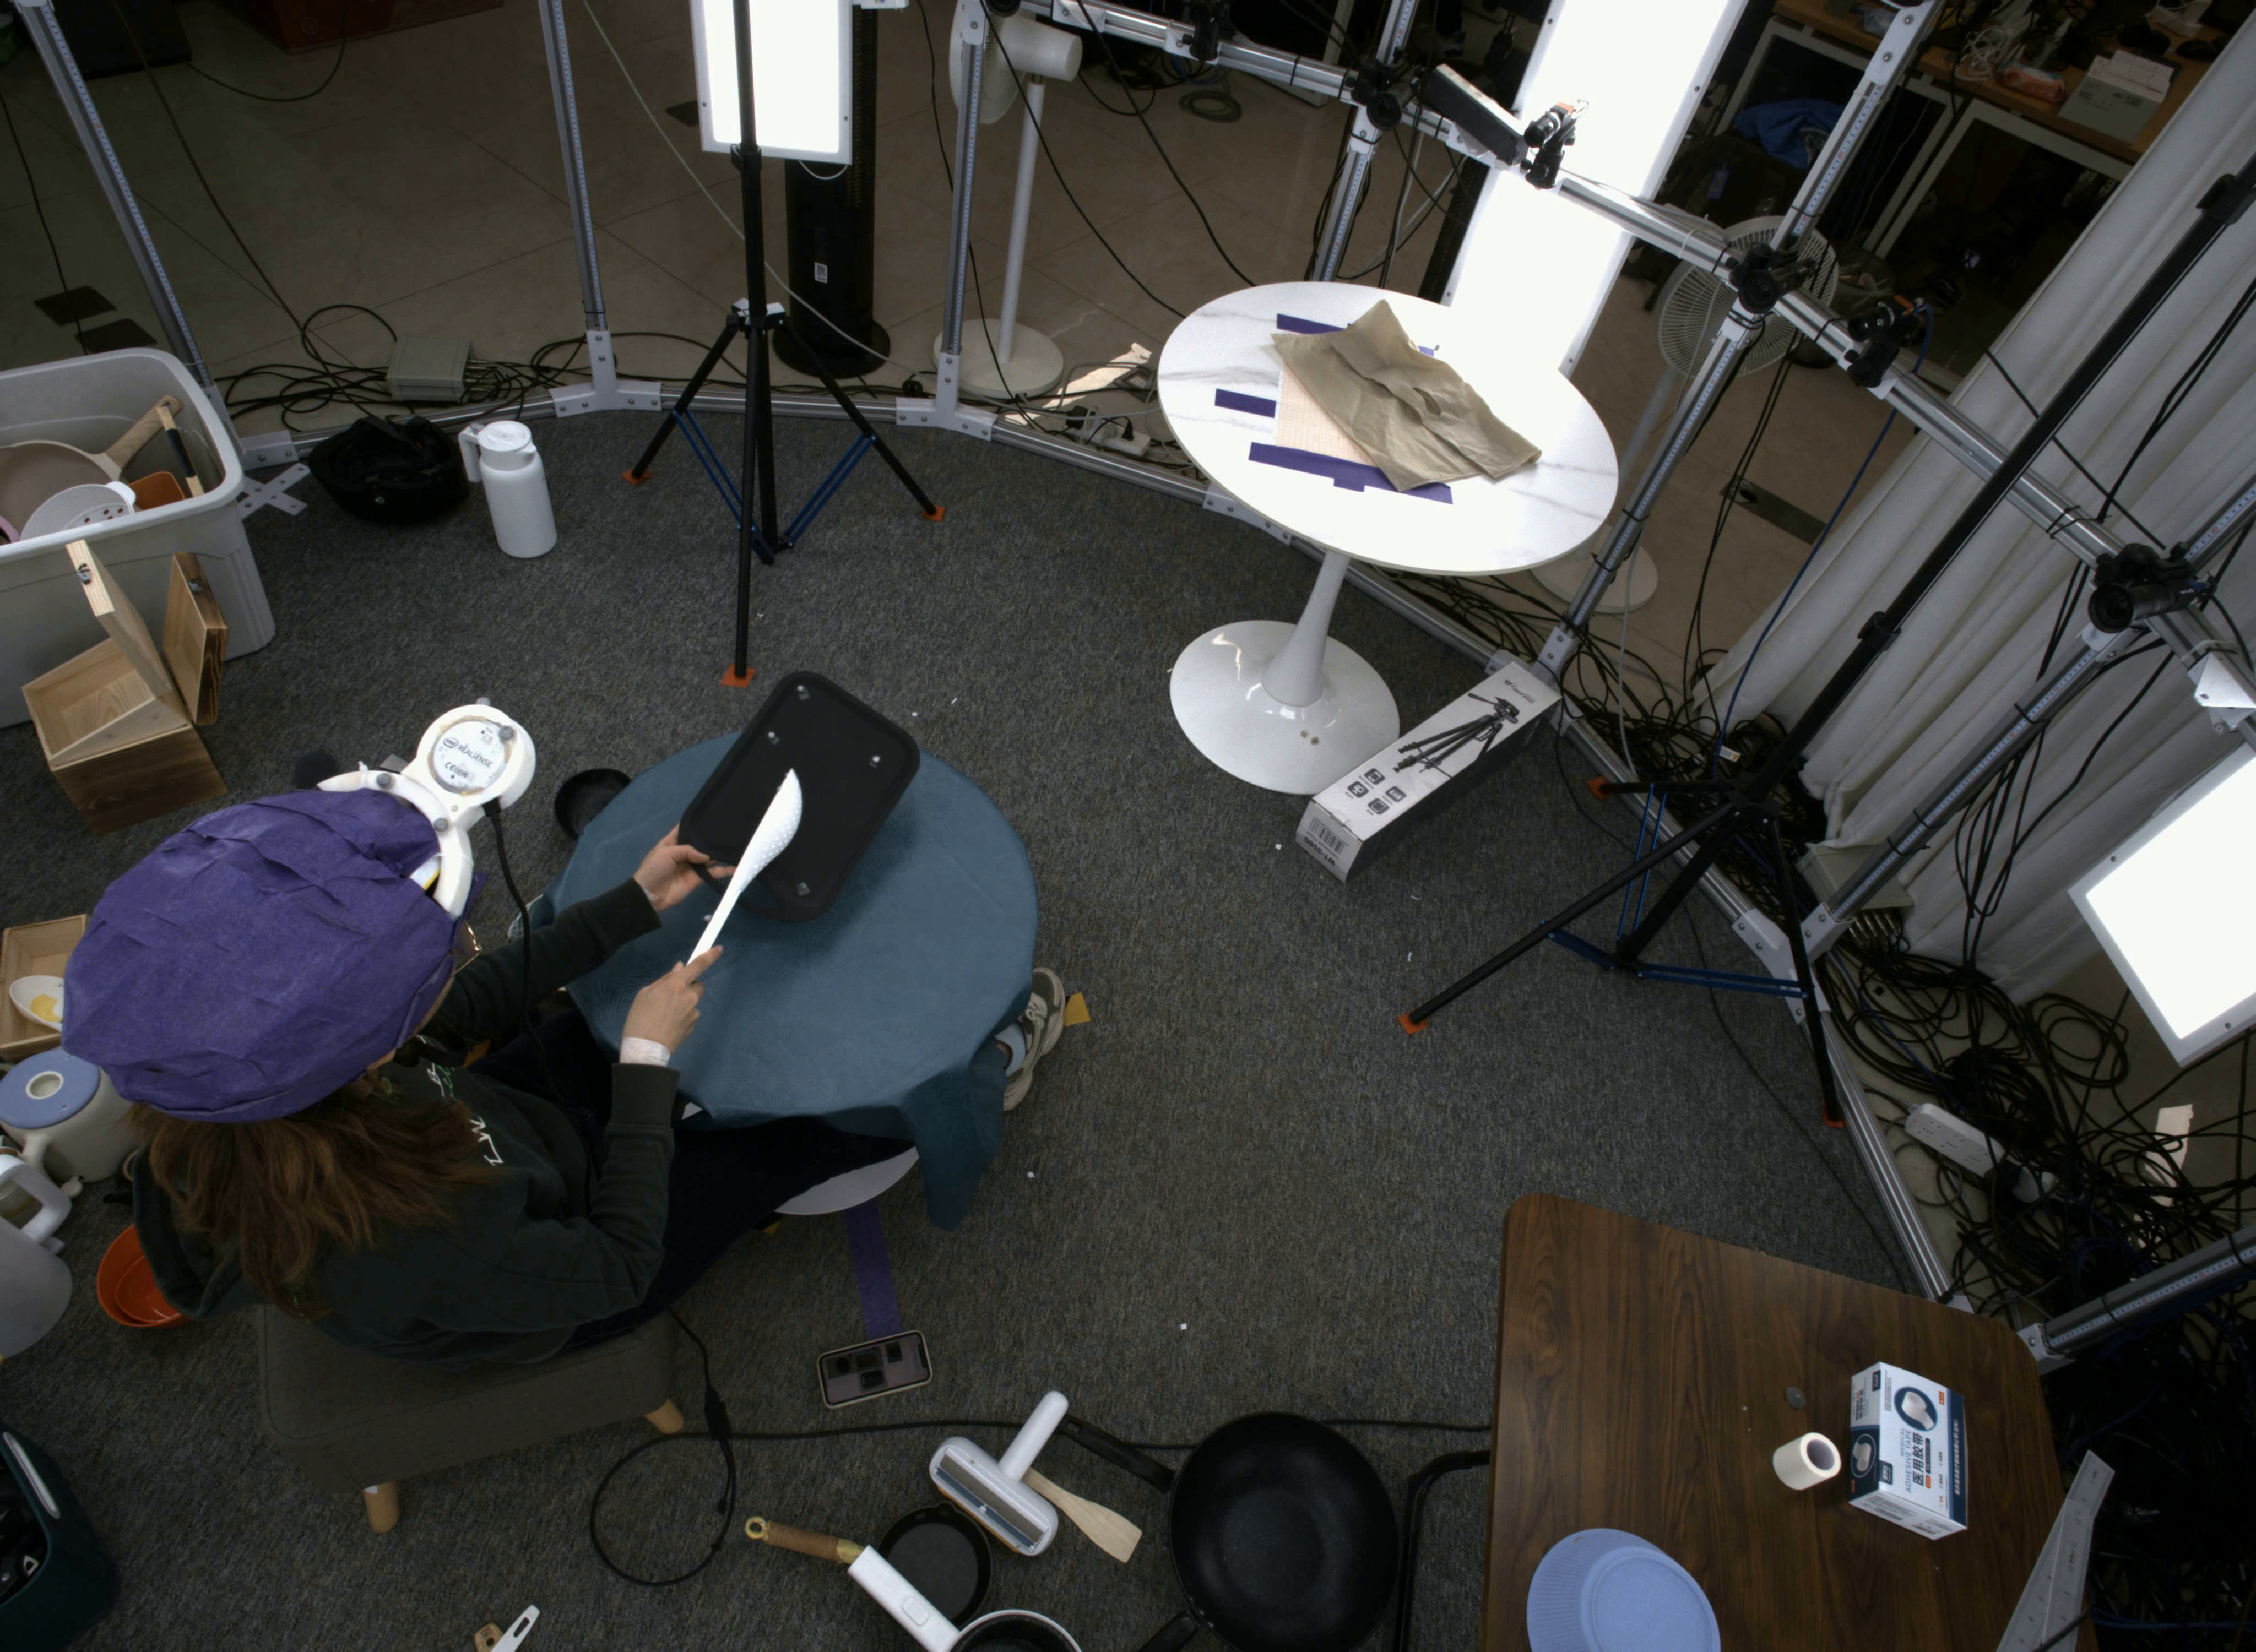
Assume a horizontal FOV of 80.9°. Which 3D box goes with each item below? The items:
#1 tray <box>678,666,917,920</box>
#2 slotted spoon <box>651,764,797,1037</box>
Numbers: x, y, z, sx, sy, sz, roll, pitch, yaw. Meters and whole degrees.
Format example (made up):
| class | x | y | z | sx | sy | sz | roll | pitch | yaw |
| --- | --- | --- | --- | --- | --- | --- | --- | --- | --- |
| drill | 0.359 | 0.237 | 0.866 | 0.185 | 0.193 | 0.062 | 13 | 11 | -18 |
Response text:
| class | x | y | z | sx | sy | sz | roll | pitch | yaw |
| --- | --- | --- | --- | --- | --- | --- | --- | --- | --- |
| tray | -0.411 | -0.042 | 1.622 | 0.214 | 0.010 | 0.324 | 35 | 60 | -14 |
| slotted spoon | -0.458 | 0.079 | 1.468 | 0.046 | 0.135 | 0.347 | 31 | 58 | -10 |
